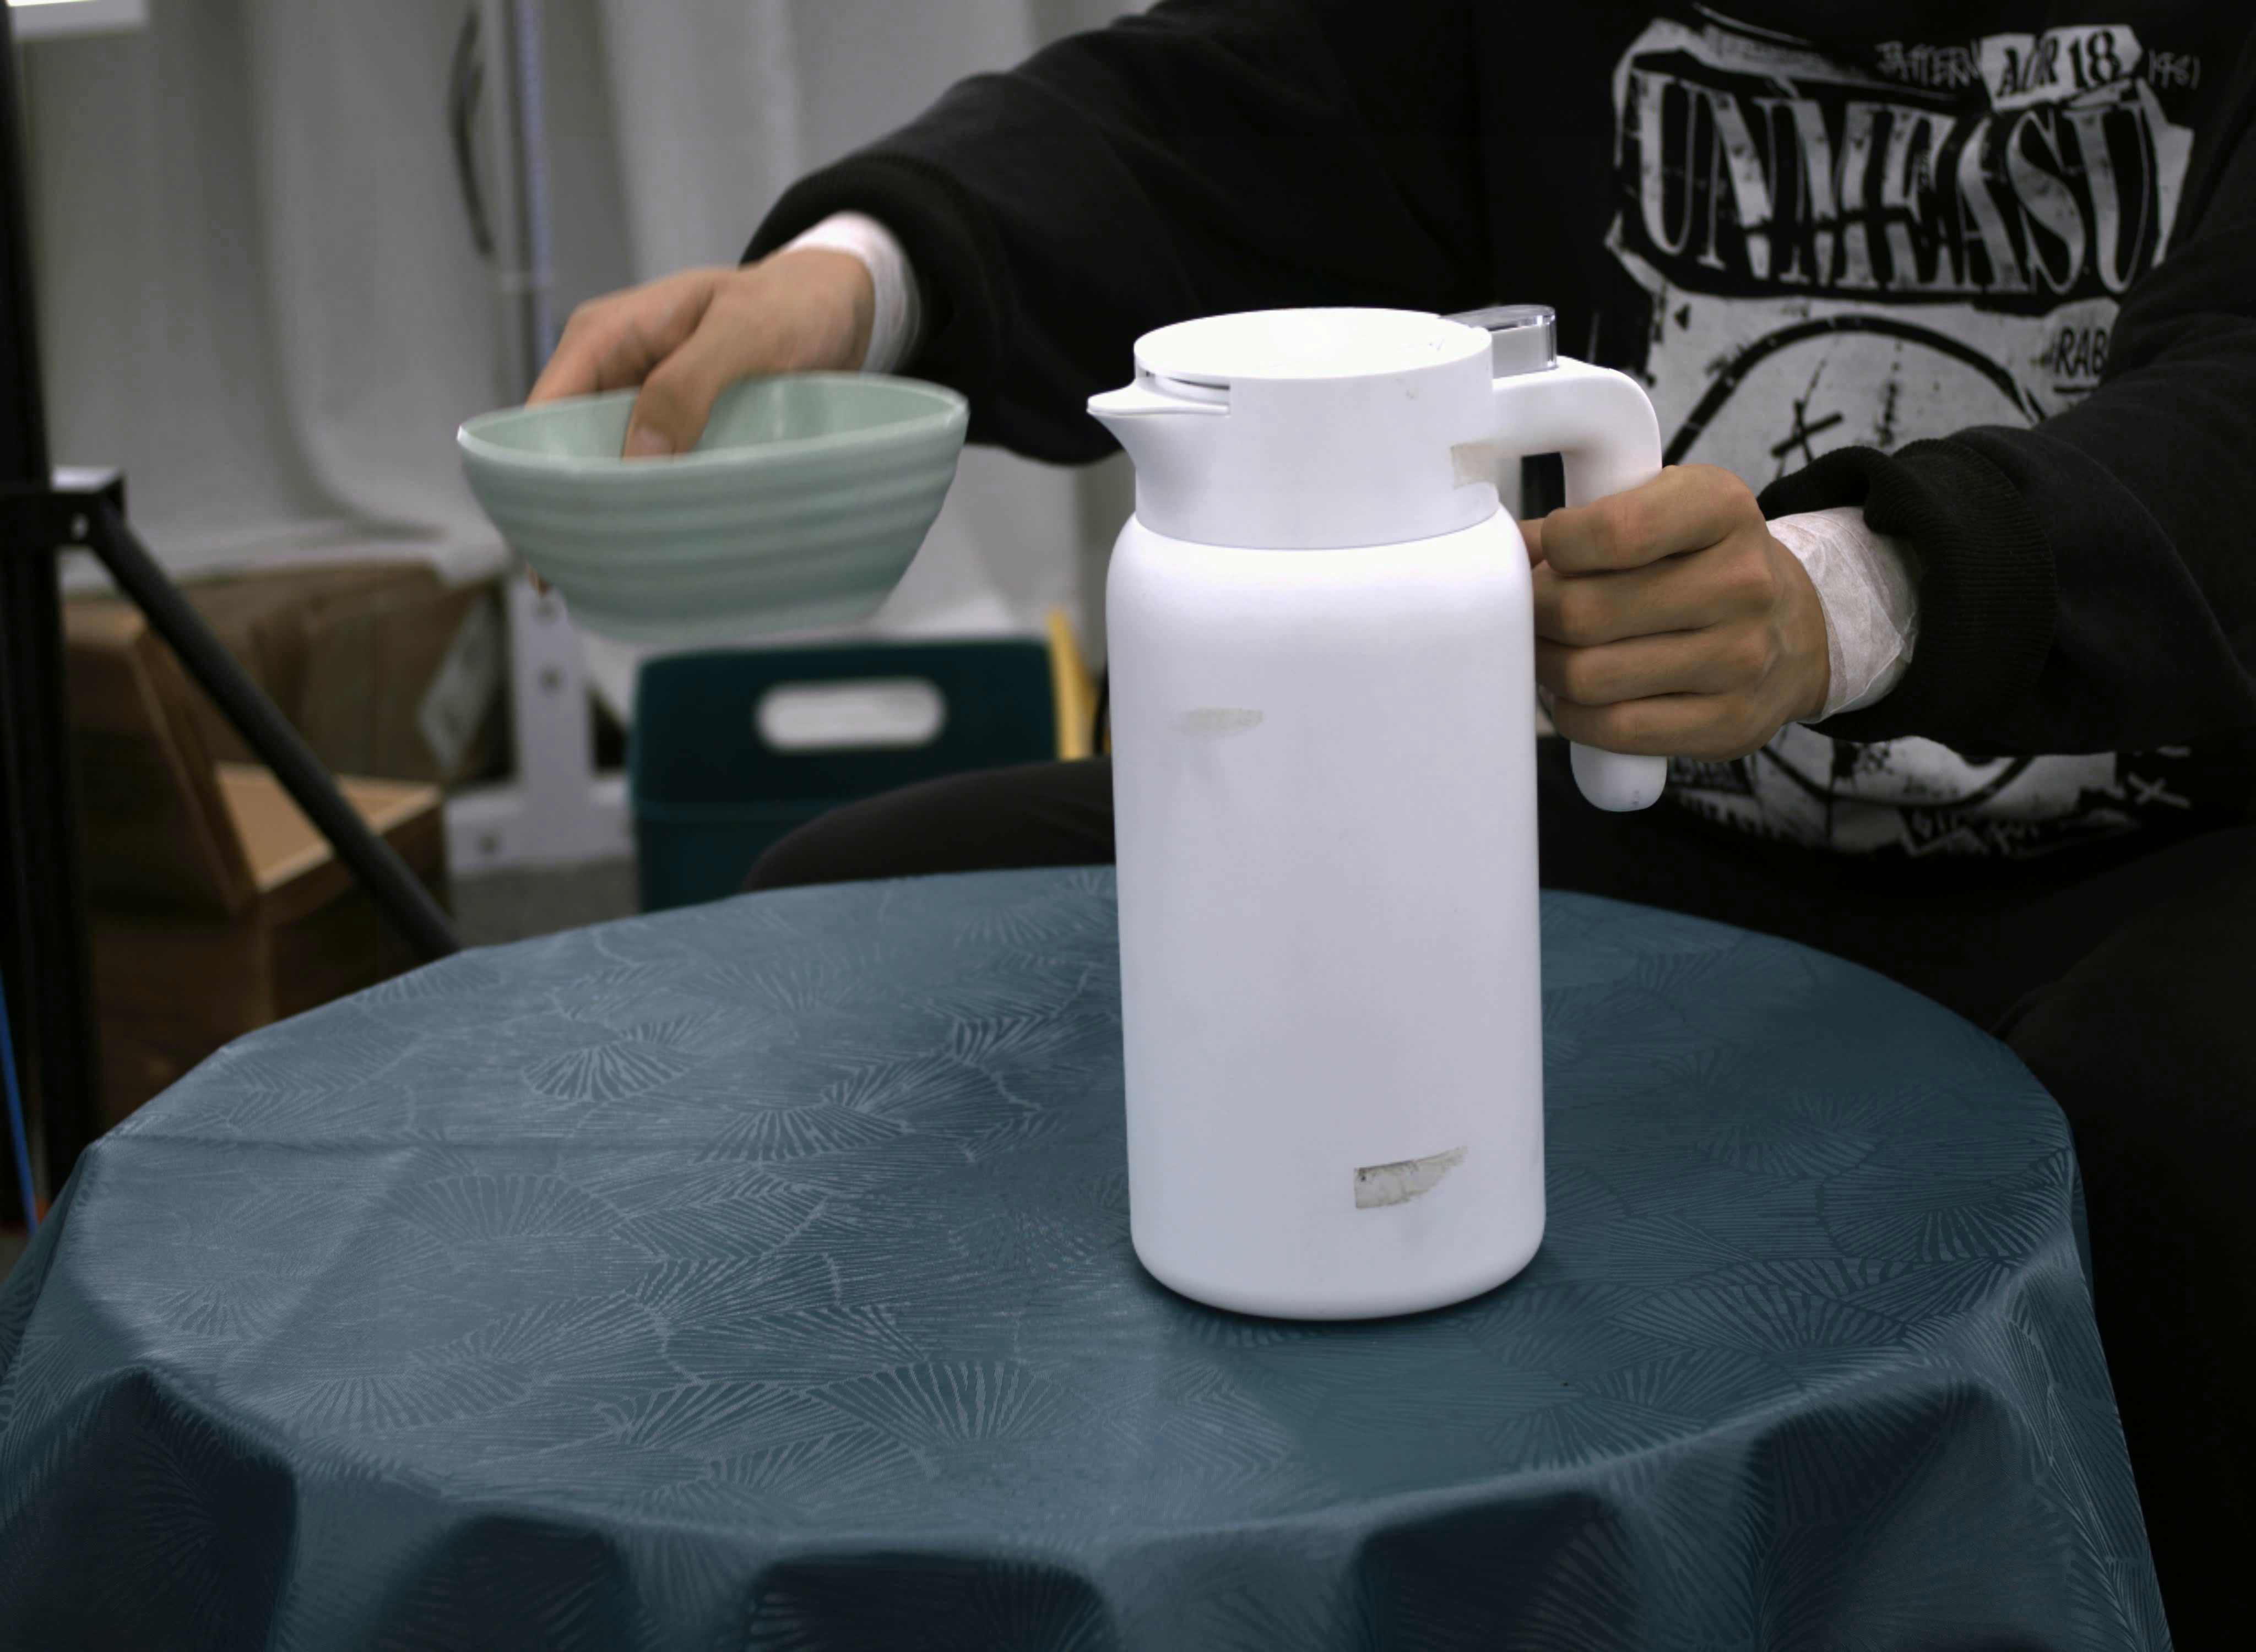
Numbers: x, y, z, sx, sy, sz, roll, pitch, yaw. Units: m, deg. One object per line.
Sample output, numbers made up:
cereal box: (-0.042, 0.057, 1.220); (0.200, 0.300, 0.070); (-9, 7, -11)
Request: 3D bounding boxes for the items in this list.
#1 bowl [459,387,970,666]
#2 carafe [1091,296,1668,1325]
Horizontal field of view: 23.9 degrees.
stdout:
bowl: (-0.117, -0.084, 1.529); (0.151, 0.058, 0.152); (-4, 13, 0)
carafe: (0.070, -0.008, 1.466); (0.169, 0.269, 0.126); (-10, 15, -27)
